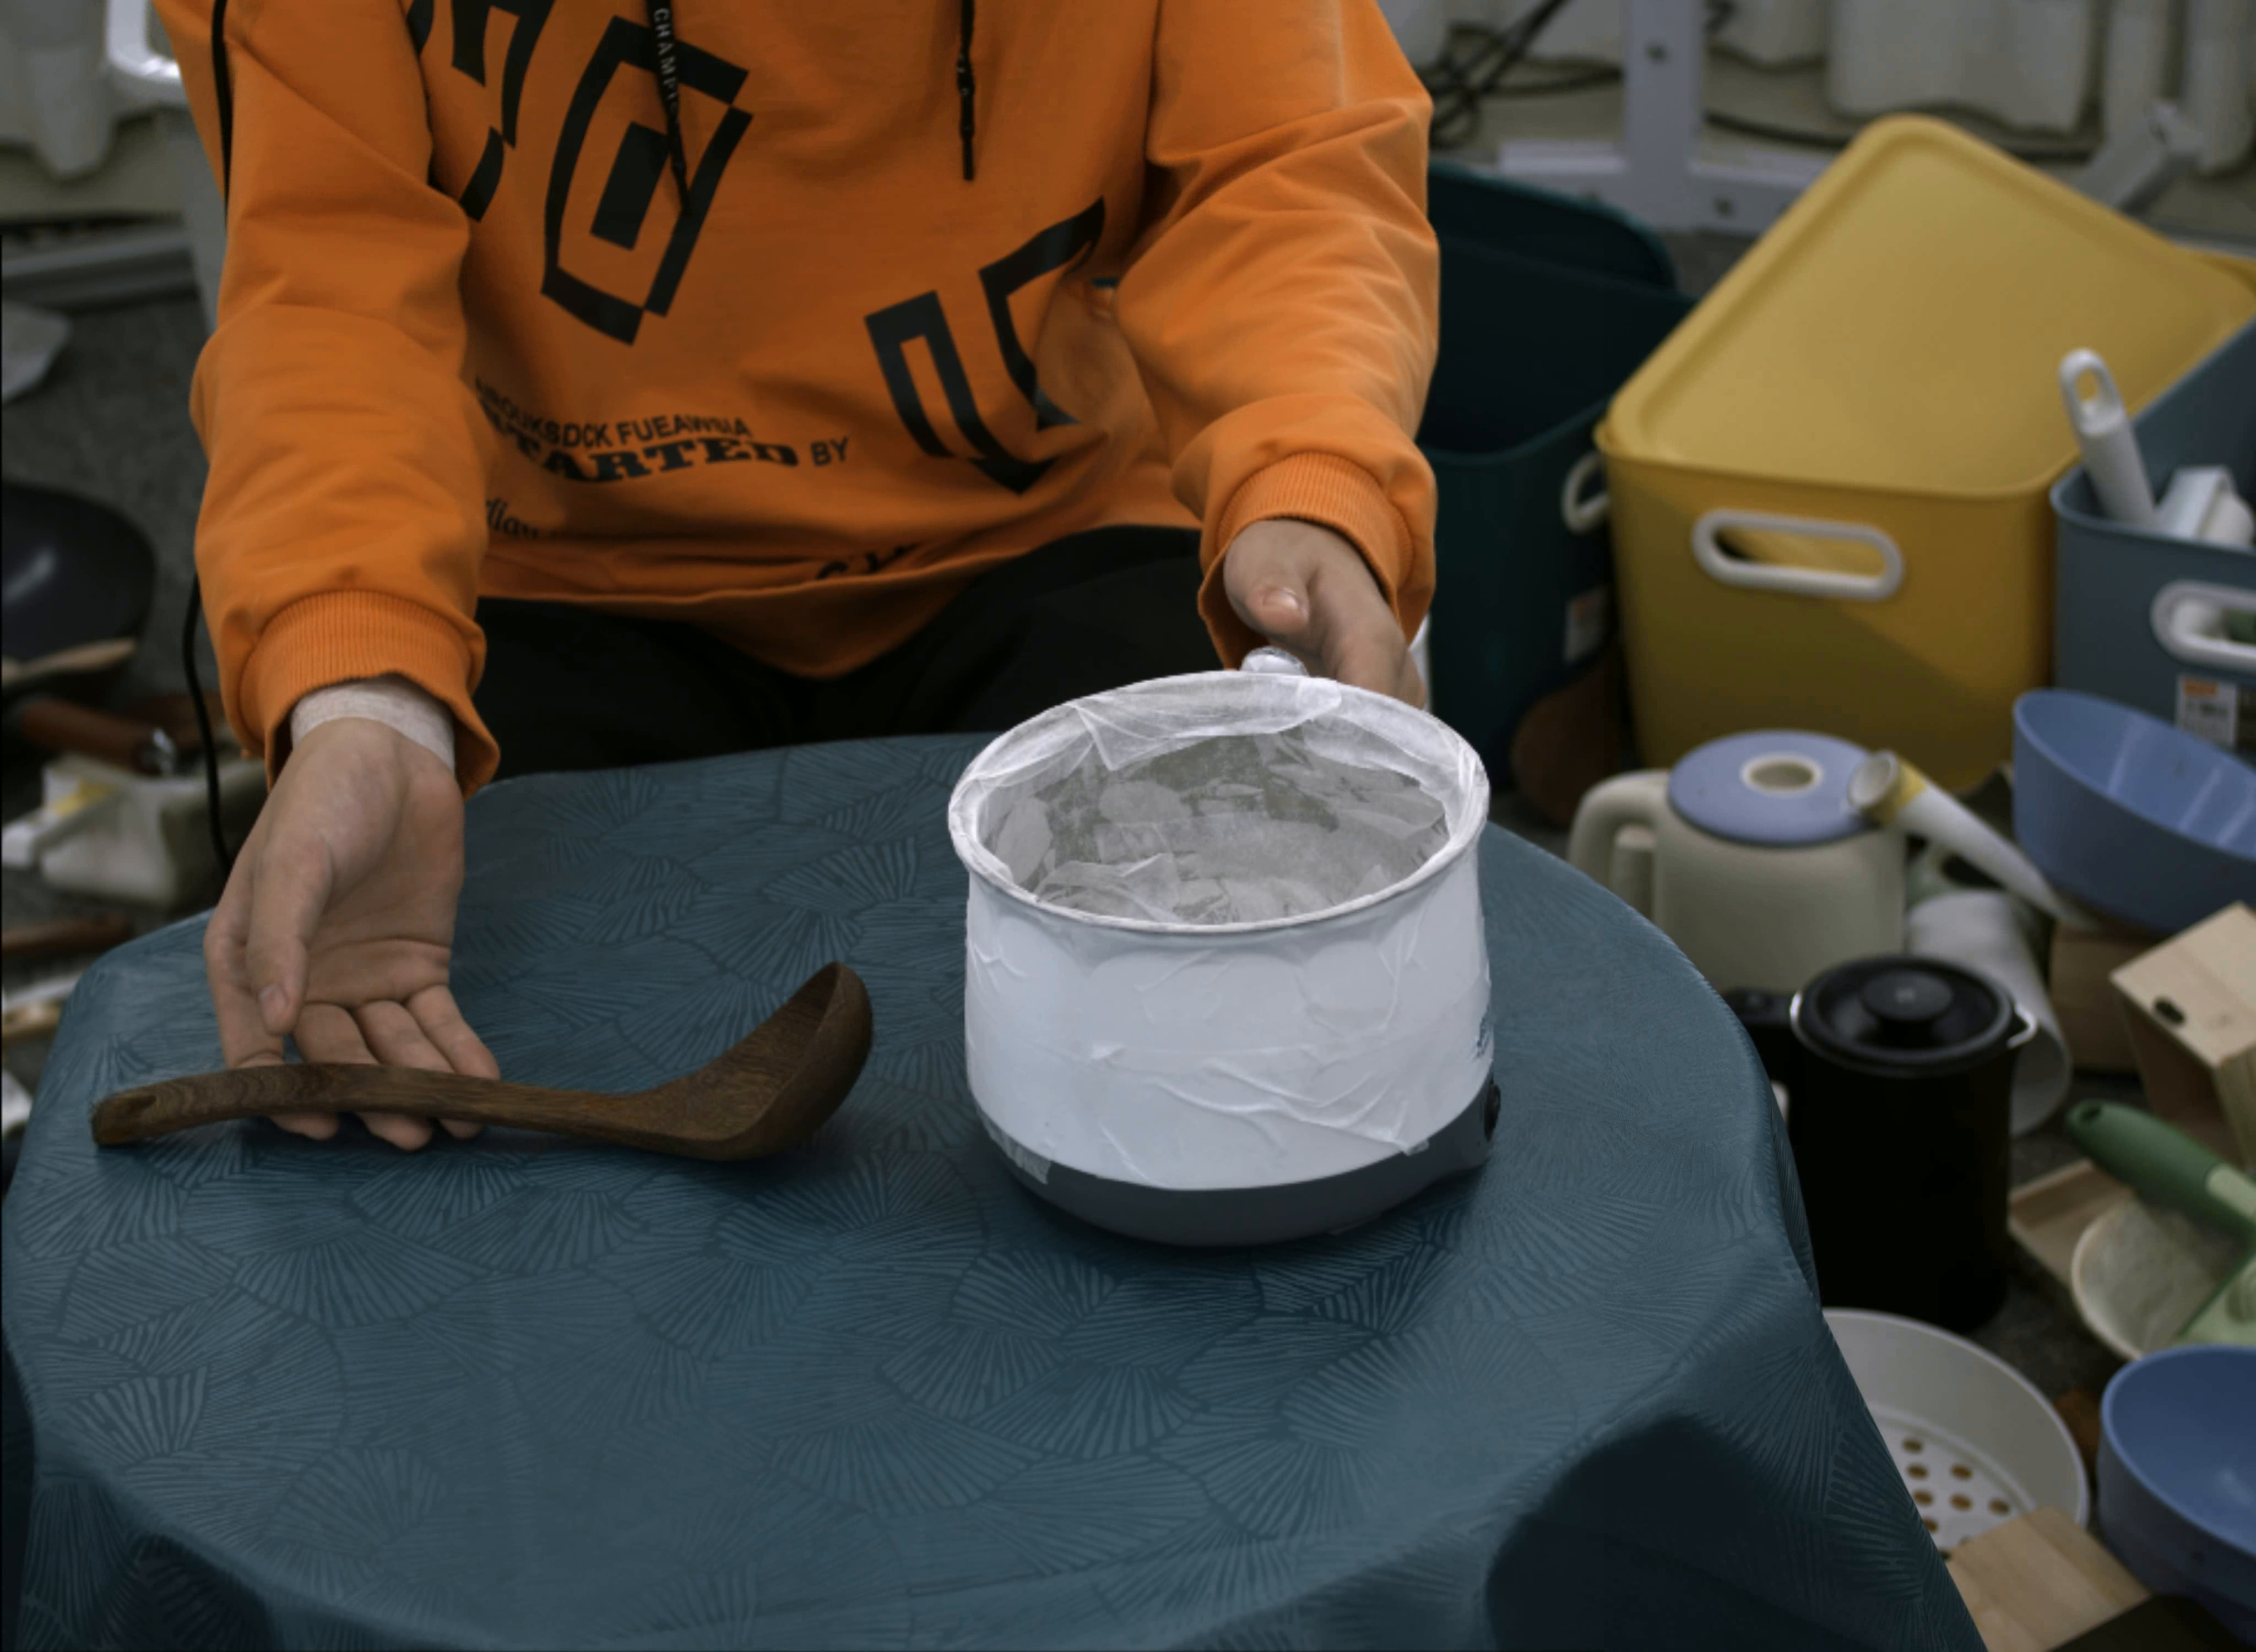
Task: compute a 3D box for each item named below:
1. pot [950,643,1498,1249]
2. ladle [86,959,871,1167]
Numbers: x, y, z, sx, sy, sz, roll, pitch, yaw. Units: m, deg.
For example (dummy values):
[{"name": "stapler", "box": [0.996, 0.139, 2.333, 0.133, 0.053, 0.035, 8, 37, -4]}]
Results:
[{"name": "pot", "box": [0.037, 0.033, 1.882, 0.177, 0.135, 0.238, 2, 28, 9]}, {"name": "ladle", "box": [-0.221, 0.078, 1.893, 0.272, 0.070, 0.077, 1, 28, 7]}]
